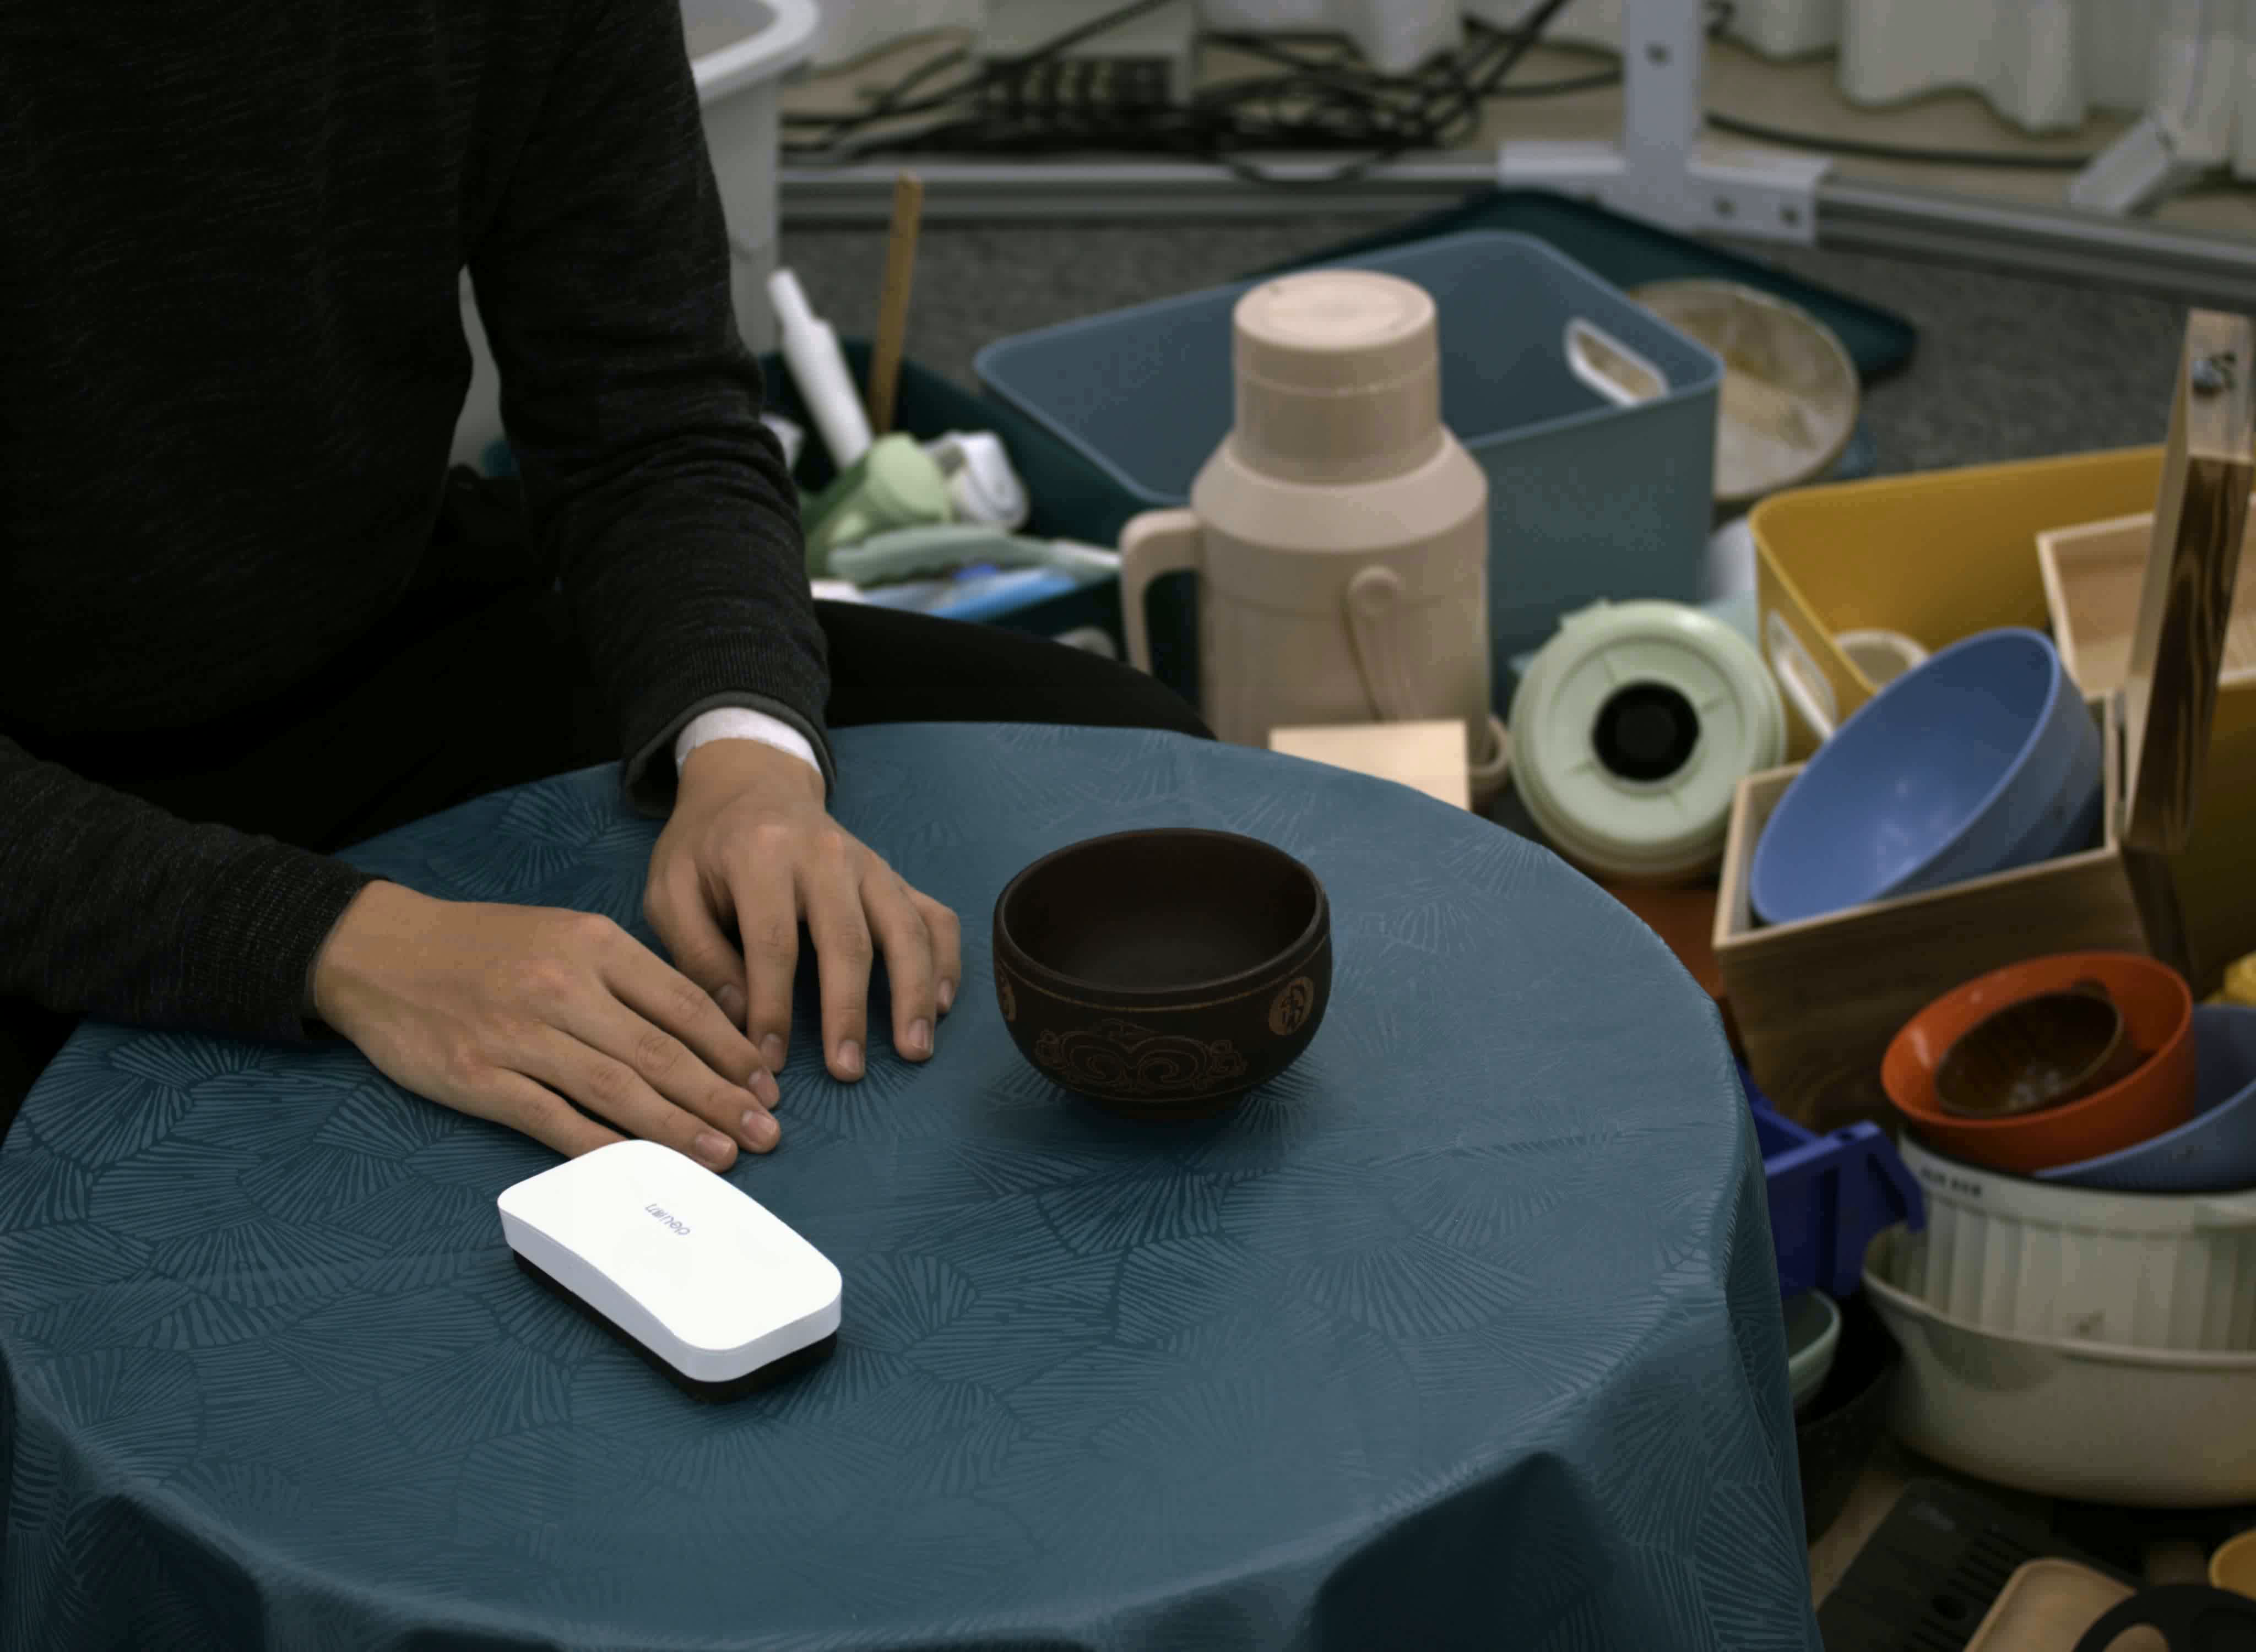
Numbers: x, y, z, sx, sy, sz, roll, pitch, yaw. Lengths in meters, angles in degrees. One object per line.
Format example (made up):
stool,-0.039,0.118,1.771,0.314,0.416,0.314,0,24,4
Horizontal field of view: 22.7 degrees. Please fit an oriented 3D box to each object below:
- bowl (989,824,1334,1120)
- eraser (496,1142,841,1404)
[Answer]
bowl,0.012,0.056,1.909,0.117,0.069,0.120,-3,27,2
eraser,-0.147,0.140,1.806,0.064,0.034,0.131,-21,33,-32
